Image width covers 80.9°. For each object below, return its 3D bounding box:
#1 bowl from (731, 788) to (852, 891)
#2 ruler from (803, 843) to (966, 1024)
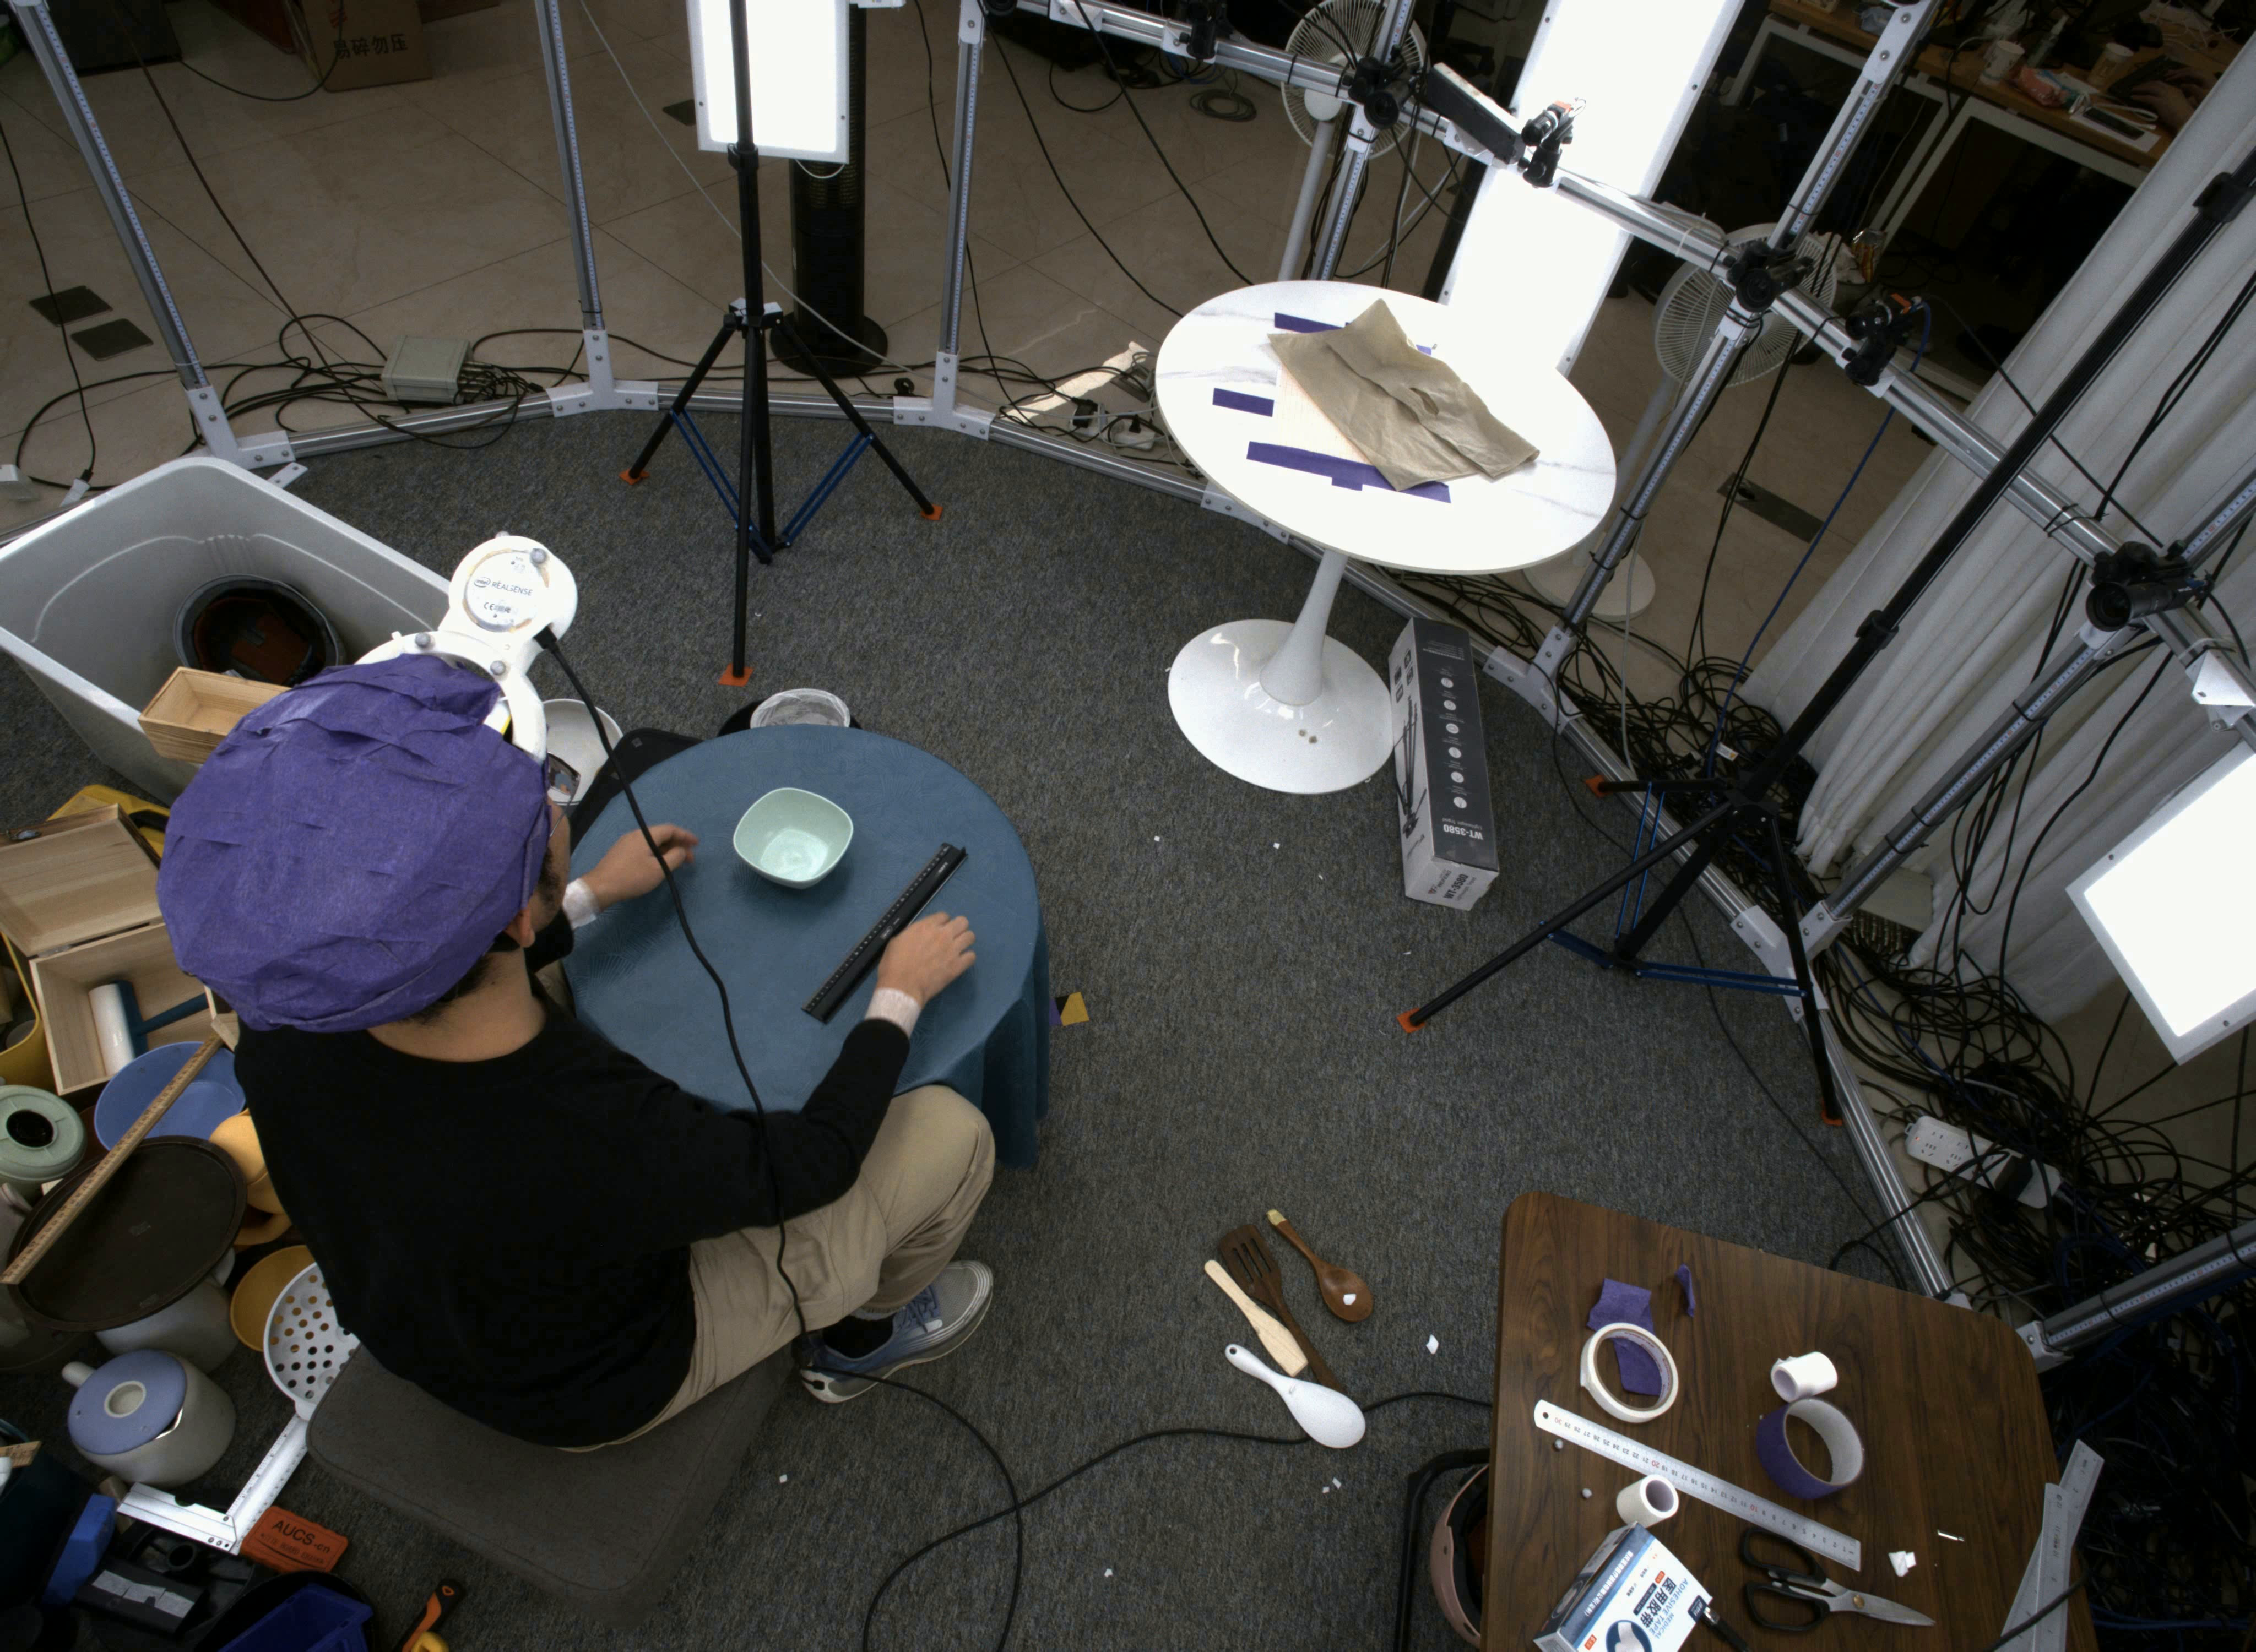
[{"bbox_3d":[-0.430,0.026,1.662,0.151,0.060,0.148,9,51,-9],"label":"bowl"},{"bbox_3d":[-0.304,0.123,1.648,0.038,0.017,0.311,27,52,12],"label":"ruler"}]
